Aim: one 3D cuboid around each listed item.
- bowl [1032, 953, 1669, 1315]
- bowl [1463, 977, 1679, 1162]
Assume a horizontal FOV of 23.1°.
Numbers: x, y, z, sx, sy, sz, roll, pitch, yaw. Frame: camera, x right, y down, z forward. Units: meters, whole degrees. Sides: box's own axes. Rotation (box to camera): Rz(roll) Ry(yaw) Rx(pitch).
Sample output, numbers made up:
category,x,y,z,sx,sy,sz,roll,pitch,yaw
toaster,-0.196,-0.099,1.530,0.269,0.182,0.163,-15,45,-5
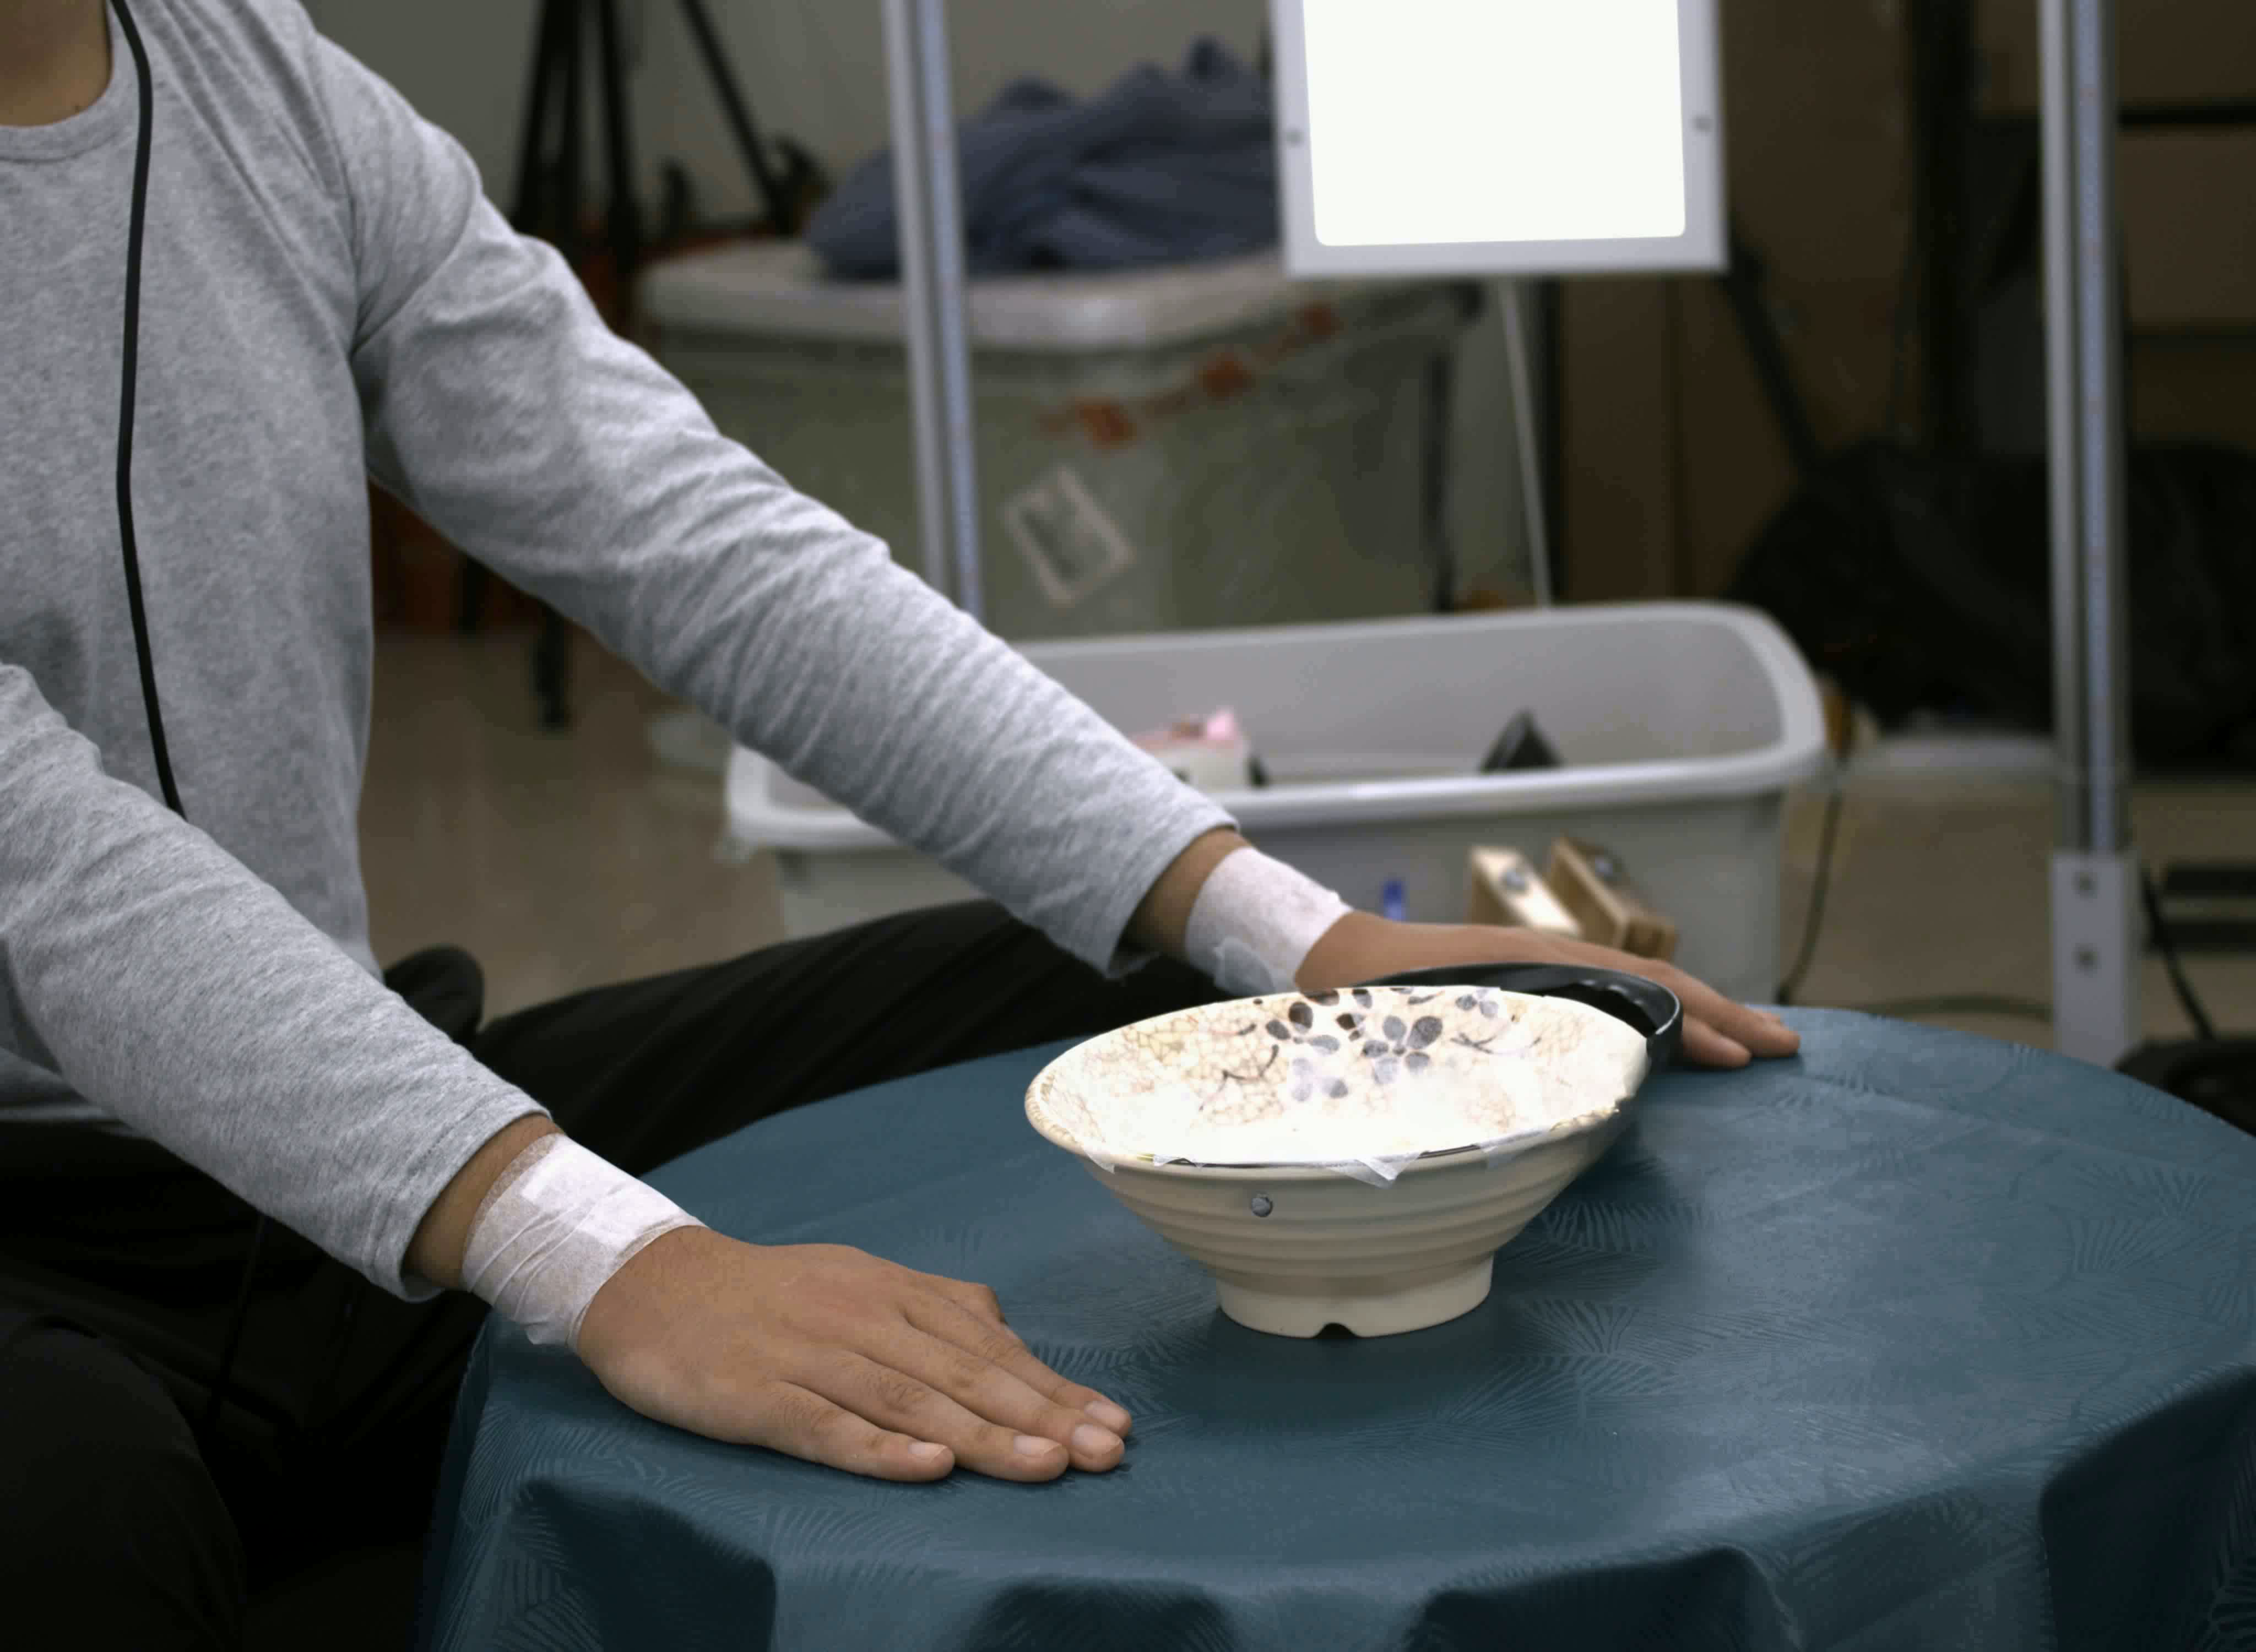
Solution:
category,x,y,z,sx,sy,sz,roll,pitch,yaw
bowl,0.069,0.105,1.754,0.203,0.078,0.204,2,15,-2
bowl,0.125,0.091,1.910,0.139,0.050,0.140,-8,9,0
